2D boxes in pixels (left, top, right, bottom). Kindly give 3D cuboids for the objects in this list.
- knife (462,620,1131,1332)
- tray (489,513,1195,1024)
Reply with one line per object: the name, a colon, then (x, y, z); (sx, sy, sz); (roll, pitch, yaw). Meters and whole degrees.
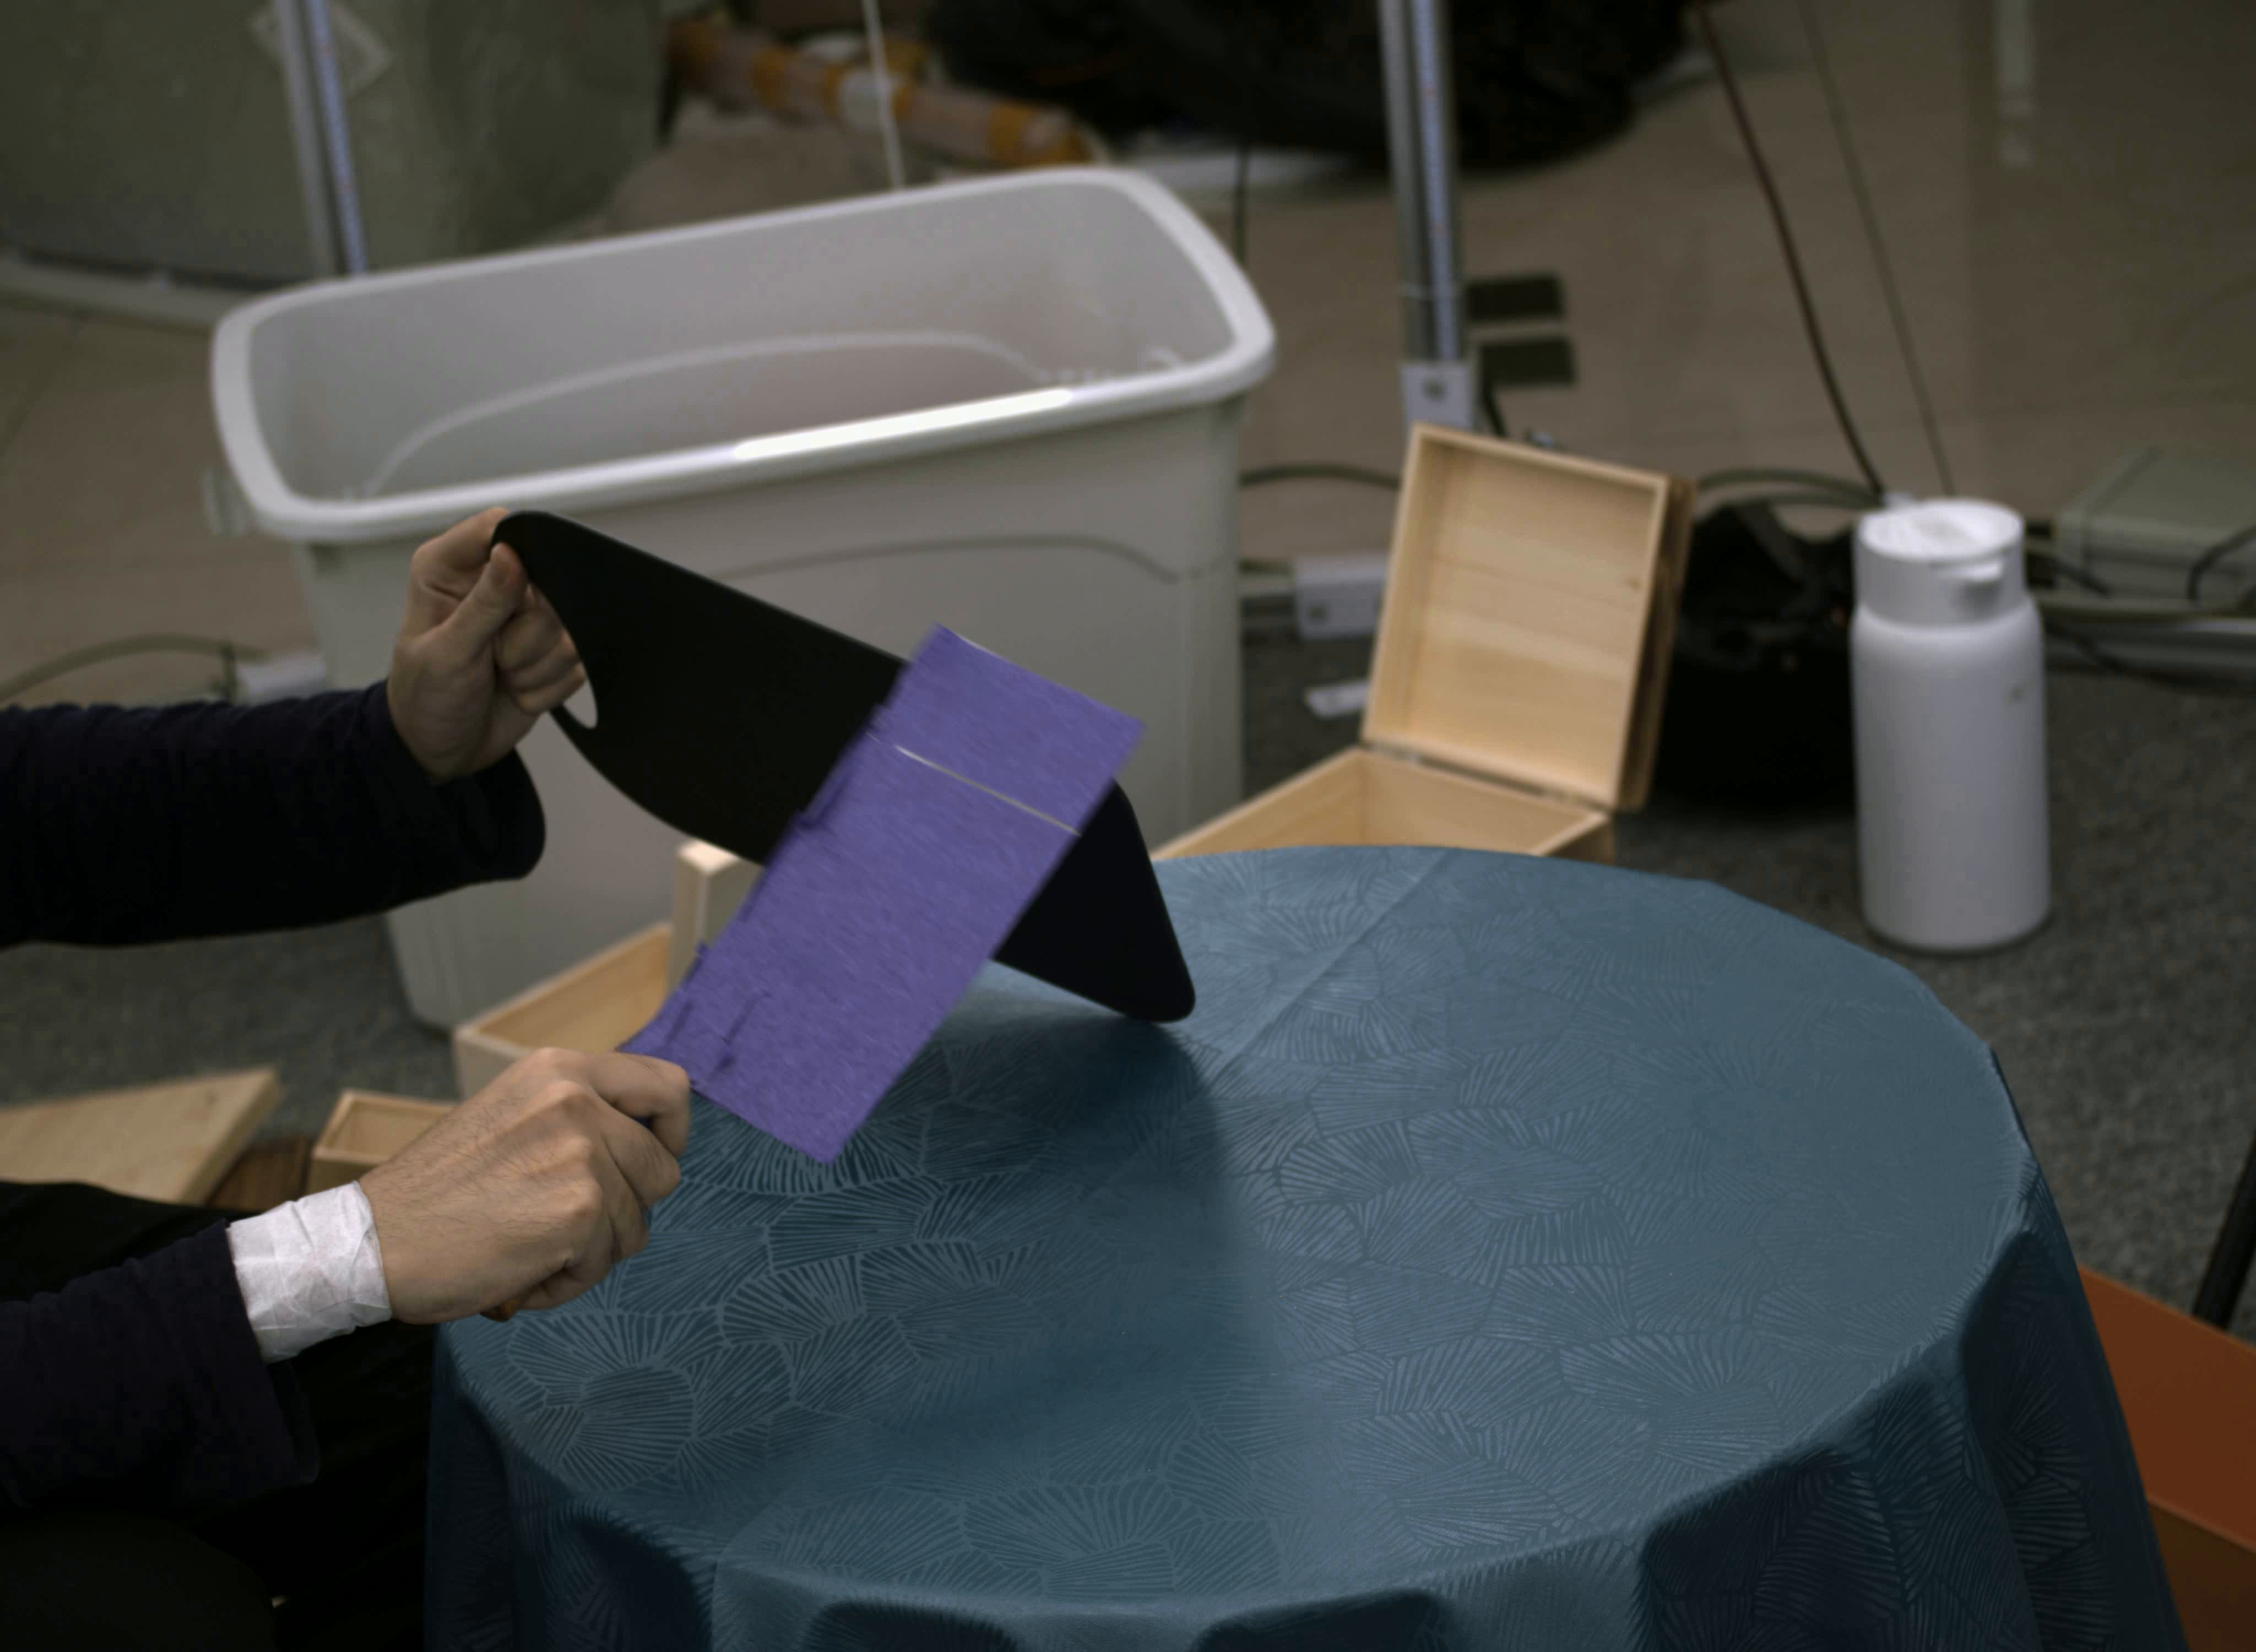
knife: (-0.112, 0.060, 2.008); (0.103, 0.033, 0.312); (27, 69, 22)
tray: (-0.120, -0.027, 2.253); (0.323, 0.215, 0.009); (22, 63, 26)
